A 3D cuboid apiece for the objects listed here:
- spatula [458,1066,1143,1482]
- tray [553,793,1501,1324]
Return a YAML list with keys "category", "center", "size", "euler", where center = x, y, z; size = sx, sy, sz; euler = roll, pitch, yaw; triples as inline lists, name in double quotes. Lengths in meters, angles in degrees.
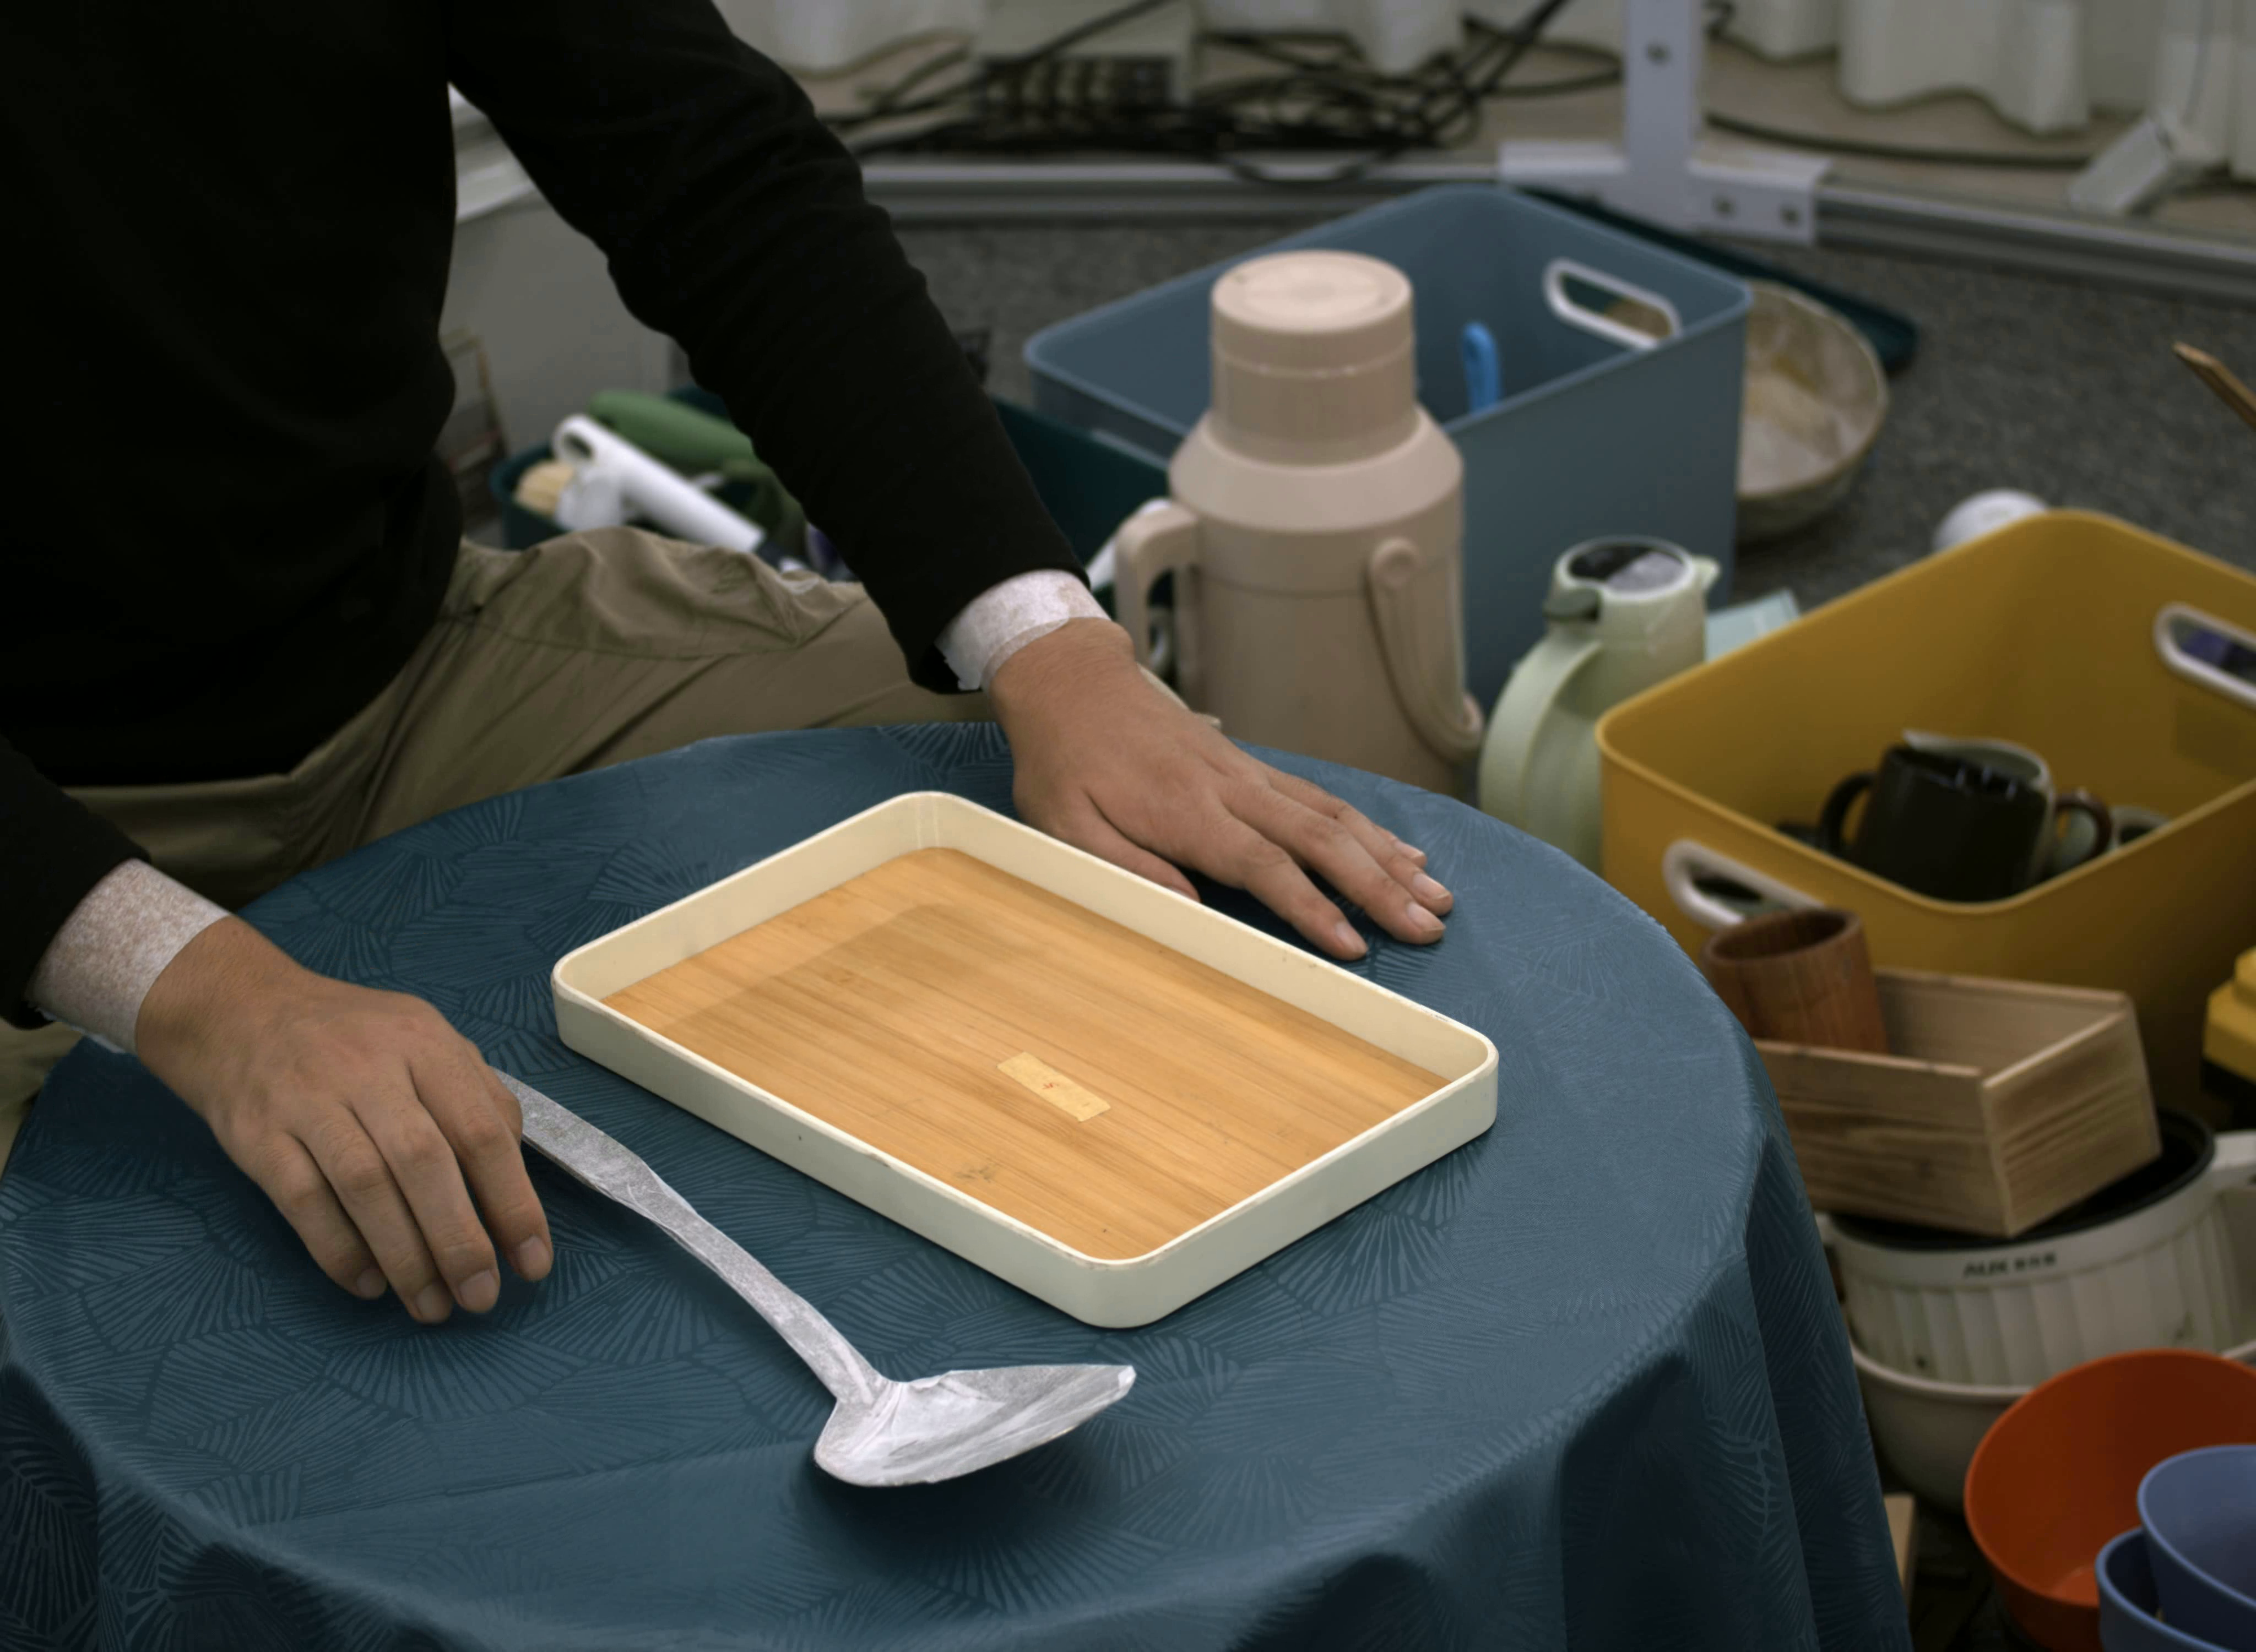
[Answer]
- category: "spatula"
  center: [-0.129, 0.135, 1.807]
  size: [0.099, 0.044, 0.365]
  euler: [-21, 33, -30]
- category: "tray"
  center: [-0.038, 0.074, 1.927]
  size: [0.194, 0.027, 0.300]
  euler: [-26, 35, -37]
